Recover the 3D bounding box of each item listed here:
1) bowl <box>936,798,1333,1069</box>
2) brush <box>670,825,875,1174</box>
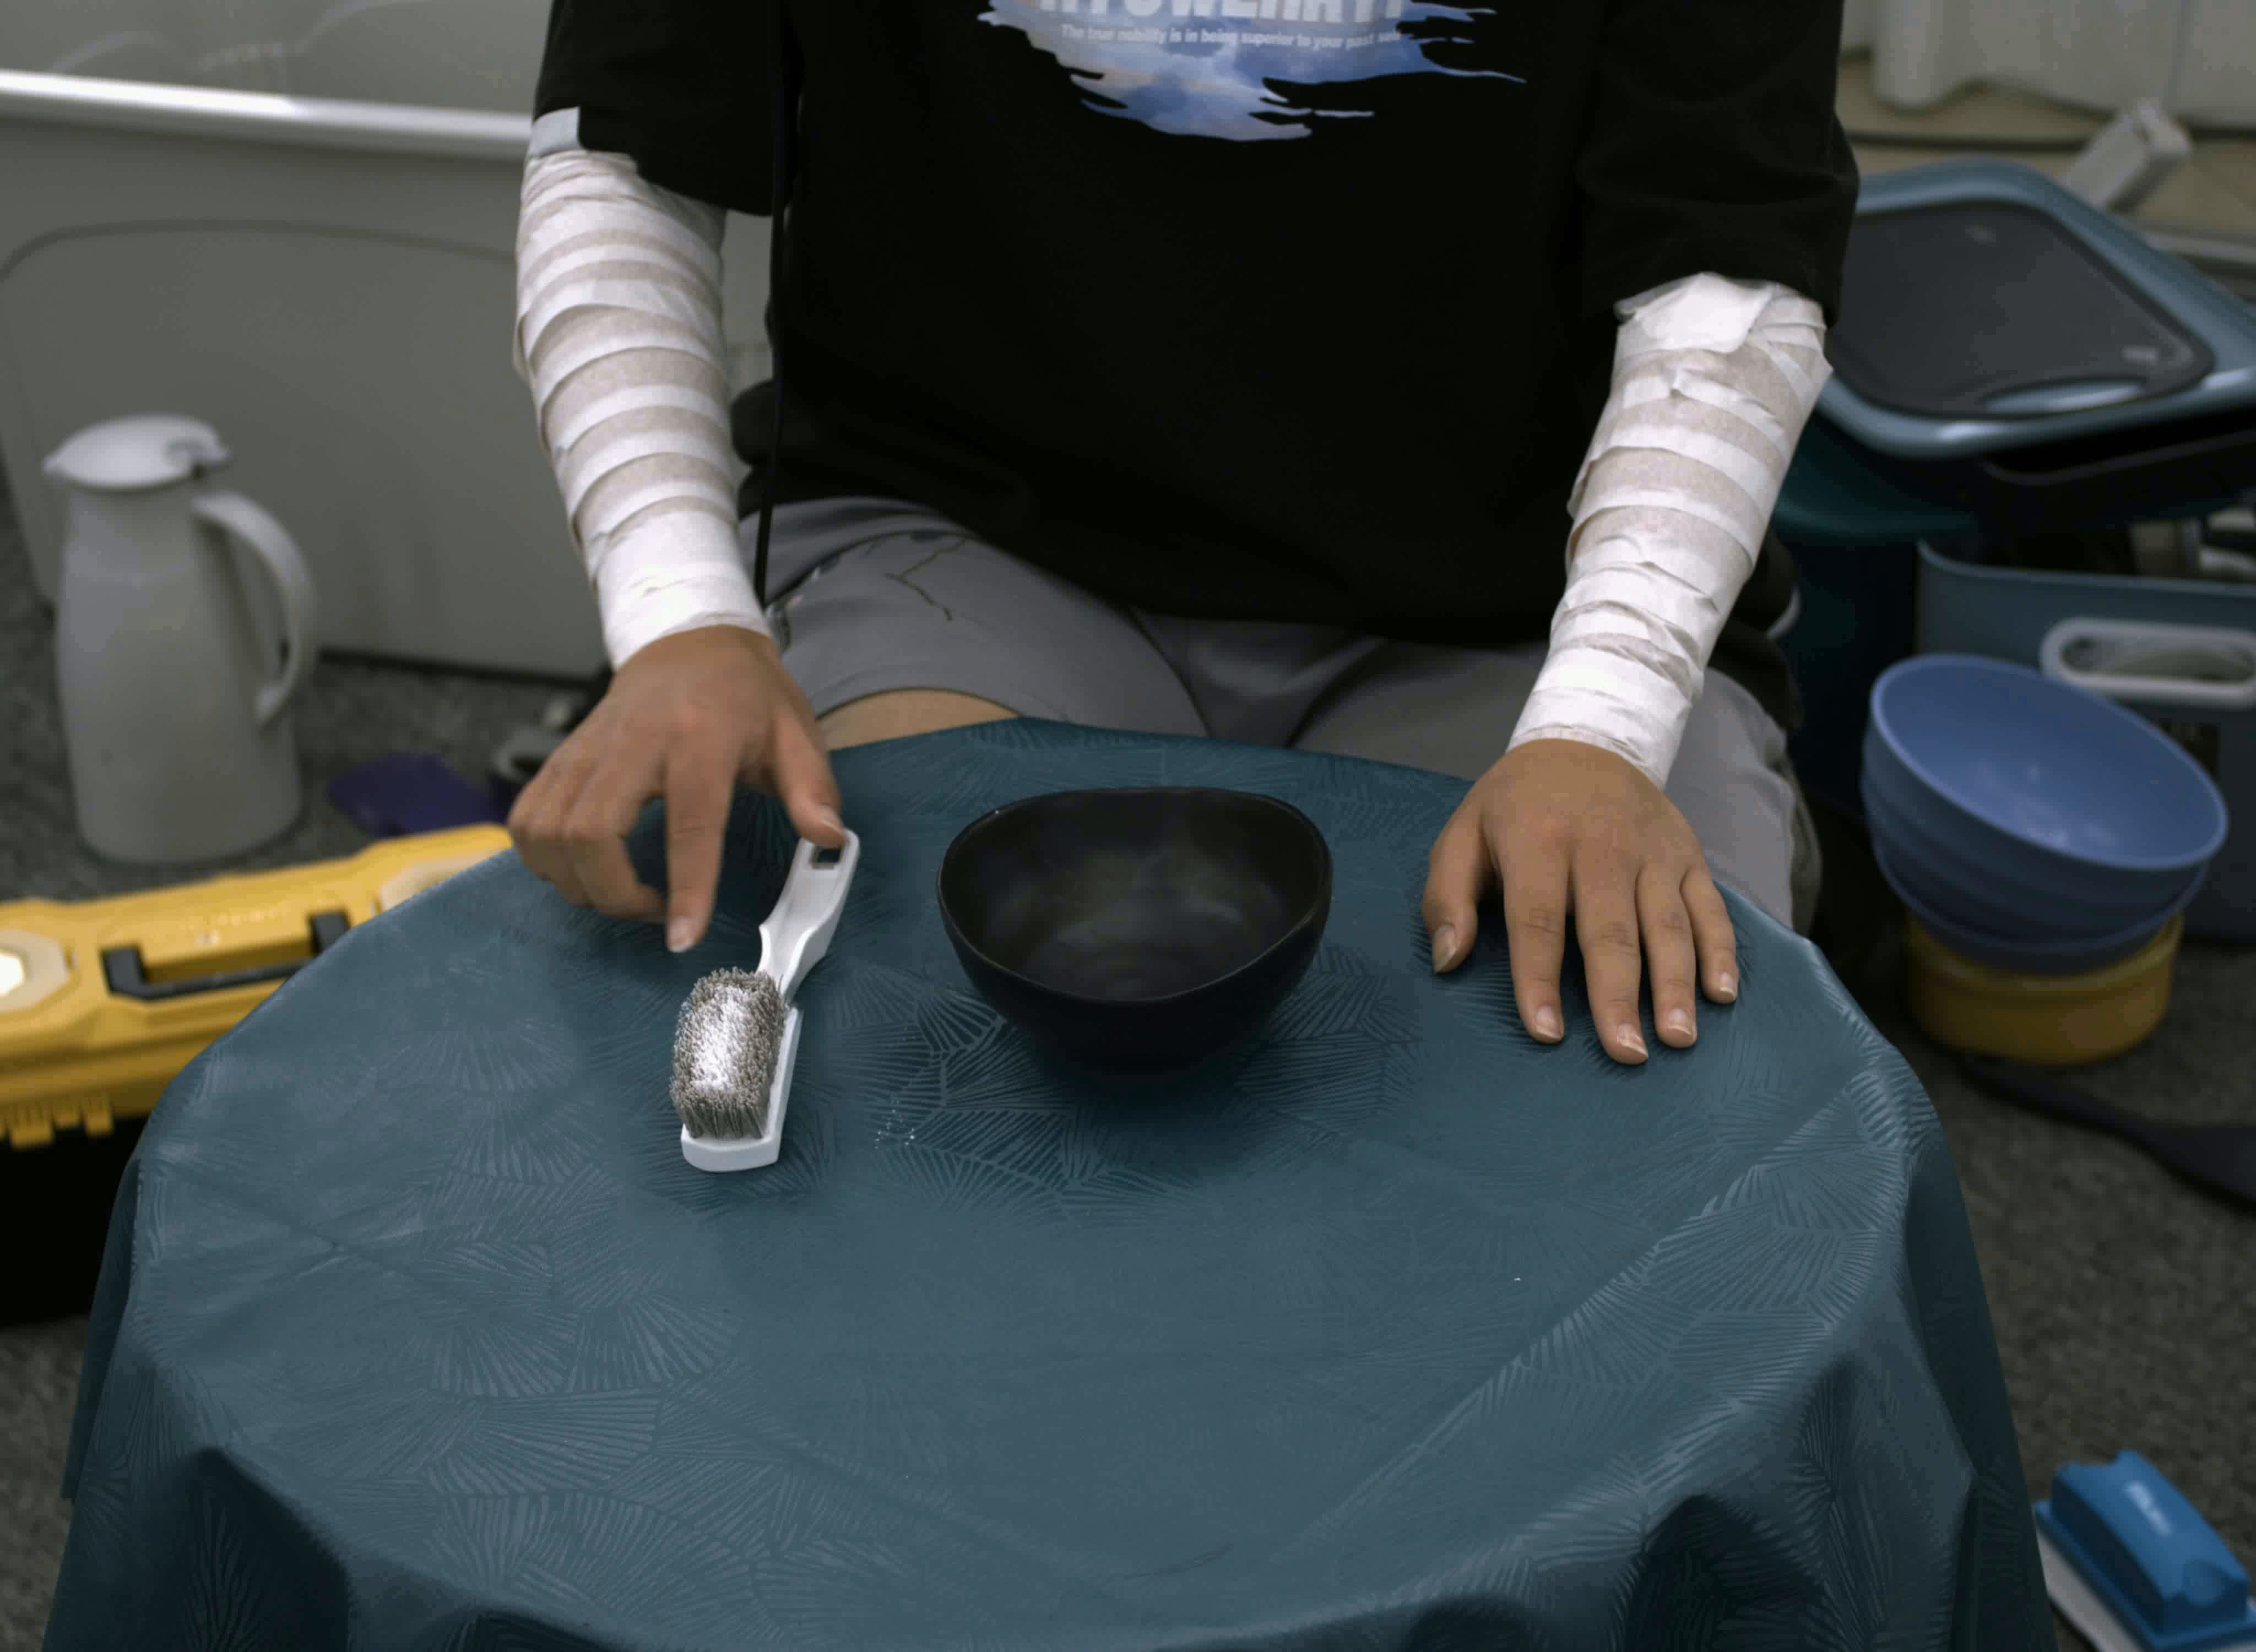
[{"bbox_3d":[0.004,0.041,1.948,0.136,0.066,0.173,-1,25,4],"label":"bowl"},{"bbox_3d":[-0.121,0.043,1.972,0.034,0.049,0.248,2,28,8],"label":"brush"}]
